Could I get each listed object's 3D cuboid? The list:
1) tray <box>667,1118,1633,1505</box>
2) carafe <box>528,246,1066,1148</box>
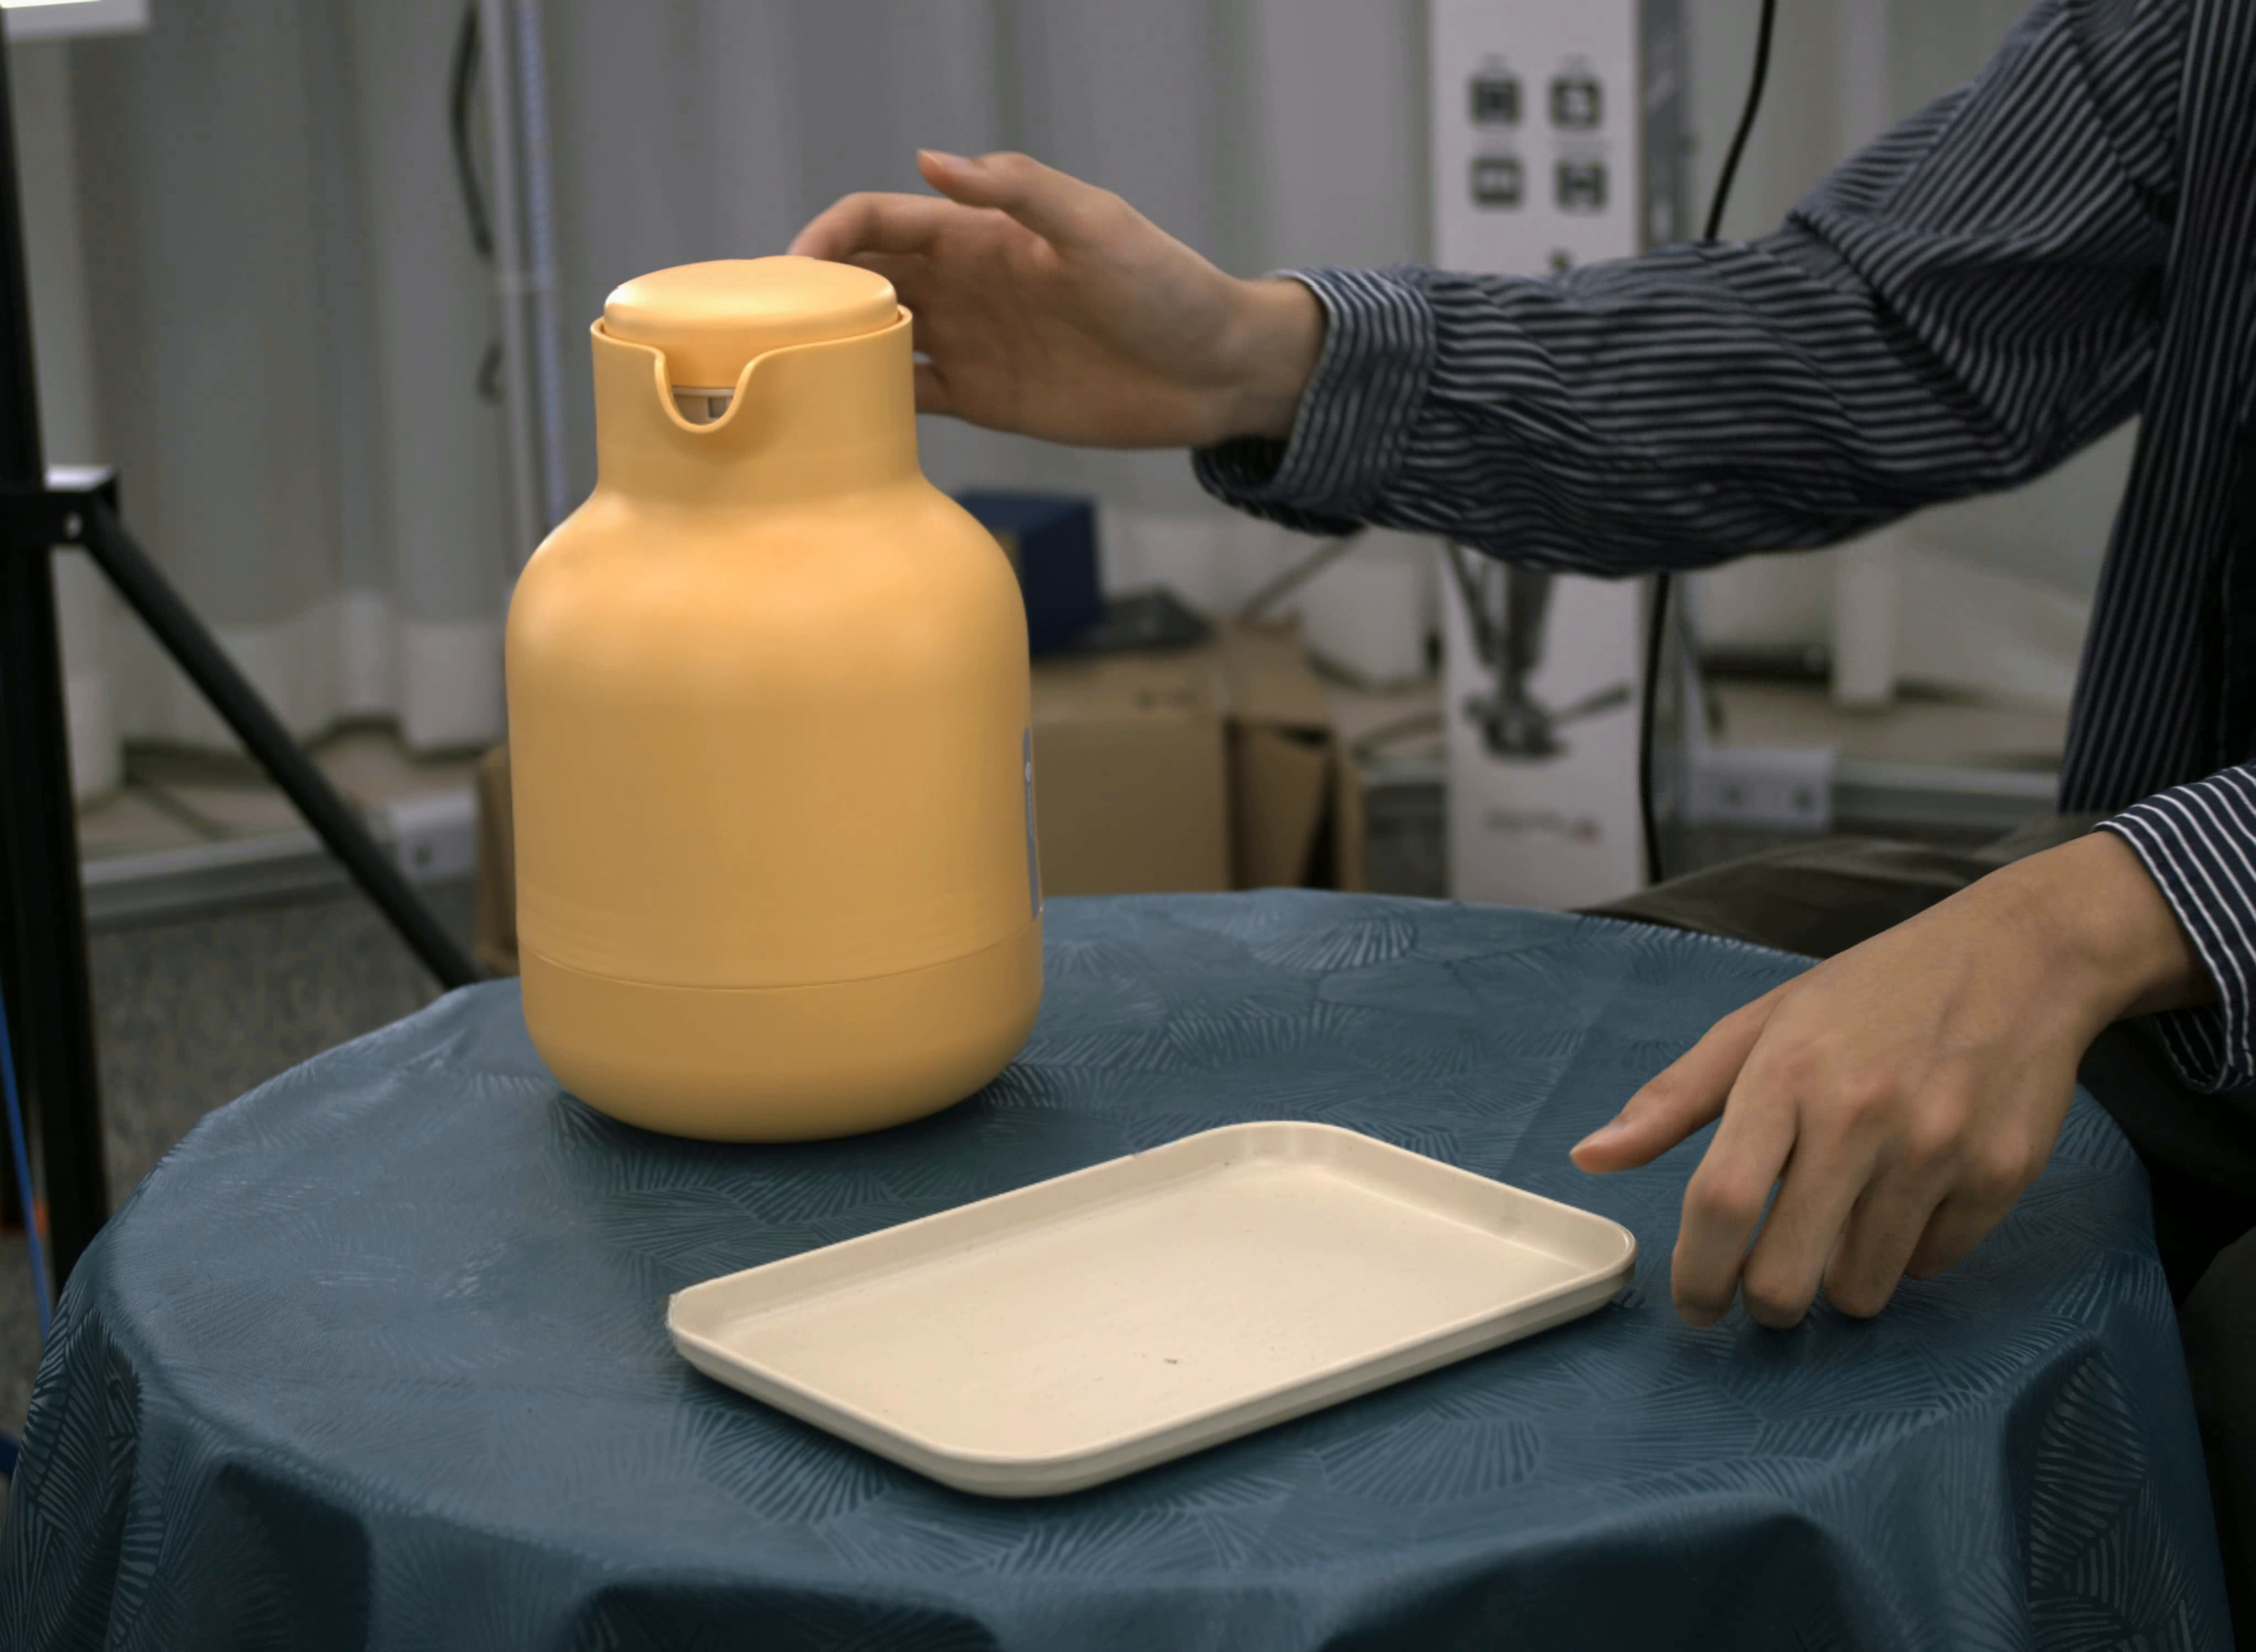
[{"bbox_3d":[0.008,0.131,1.450,0.234,0.017,0.175,-14,20,-36],"label":"tray"},{"bbox_3d":[-0.099,-0.047,1.646,0.163,0.260,0.202,1,16,7],"label":"carafe"}]
